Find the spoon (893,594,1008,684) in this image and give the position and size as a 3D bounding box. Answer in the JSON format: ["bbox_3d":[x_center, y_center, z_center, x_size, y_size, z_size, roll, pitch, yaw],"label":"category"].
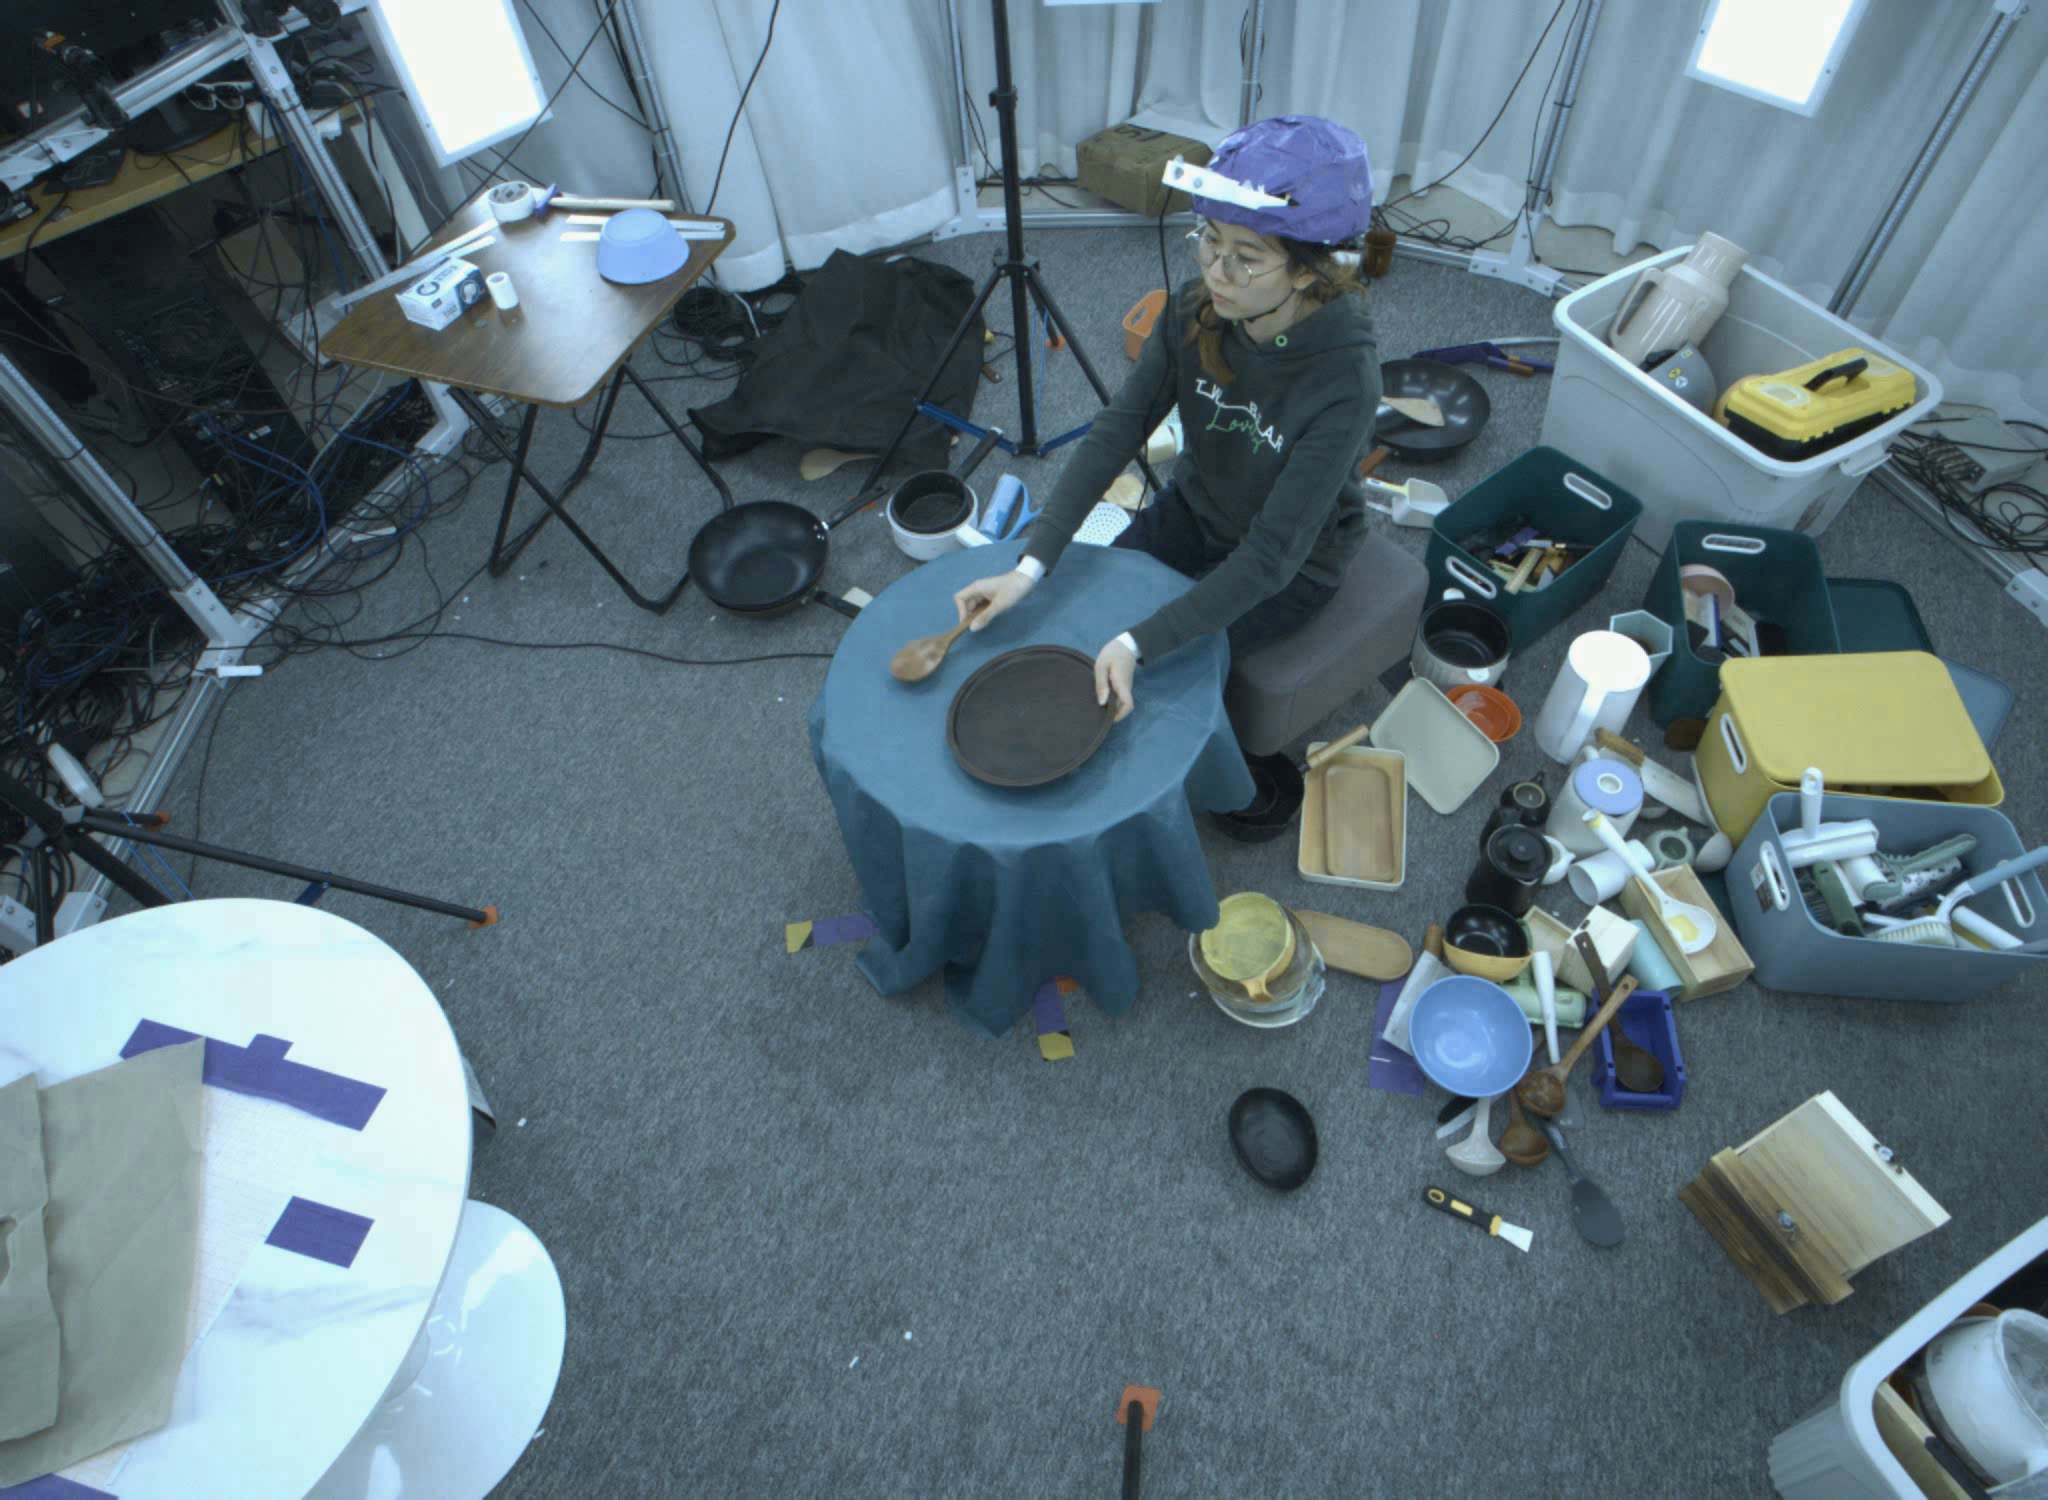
[{"bbox_3d":[-0.110,-0.170,1.882,0.217,0.017,0.074,-40,55,-15],"label":"spoon"}]

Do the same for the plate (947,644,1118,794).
[{"bbox_3d":[0.013,-0.044,1.786,0.253,0.029,0.252,-6,57,11],"label":"plate"}]
